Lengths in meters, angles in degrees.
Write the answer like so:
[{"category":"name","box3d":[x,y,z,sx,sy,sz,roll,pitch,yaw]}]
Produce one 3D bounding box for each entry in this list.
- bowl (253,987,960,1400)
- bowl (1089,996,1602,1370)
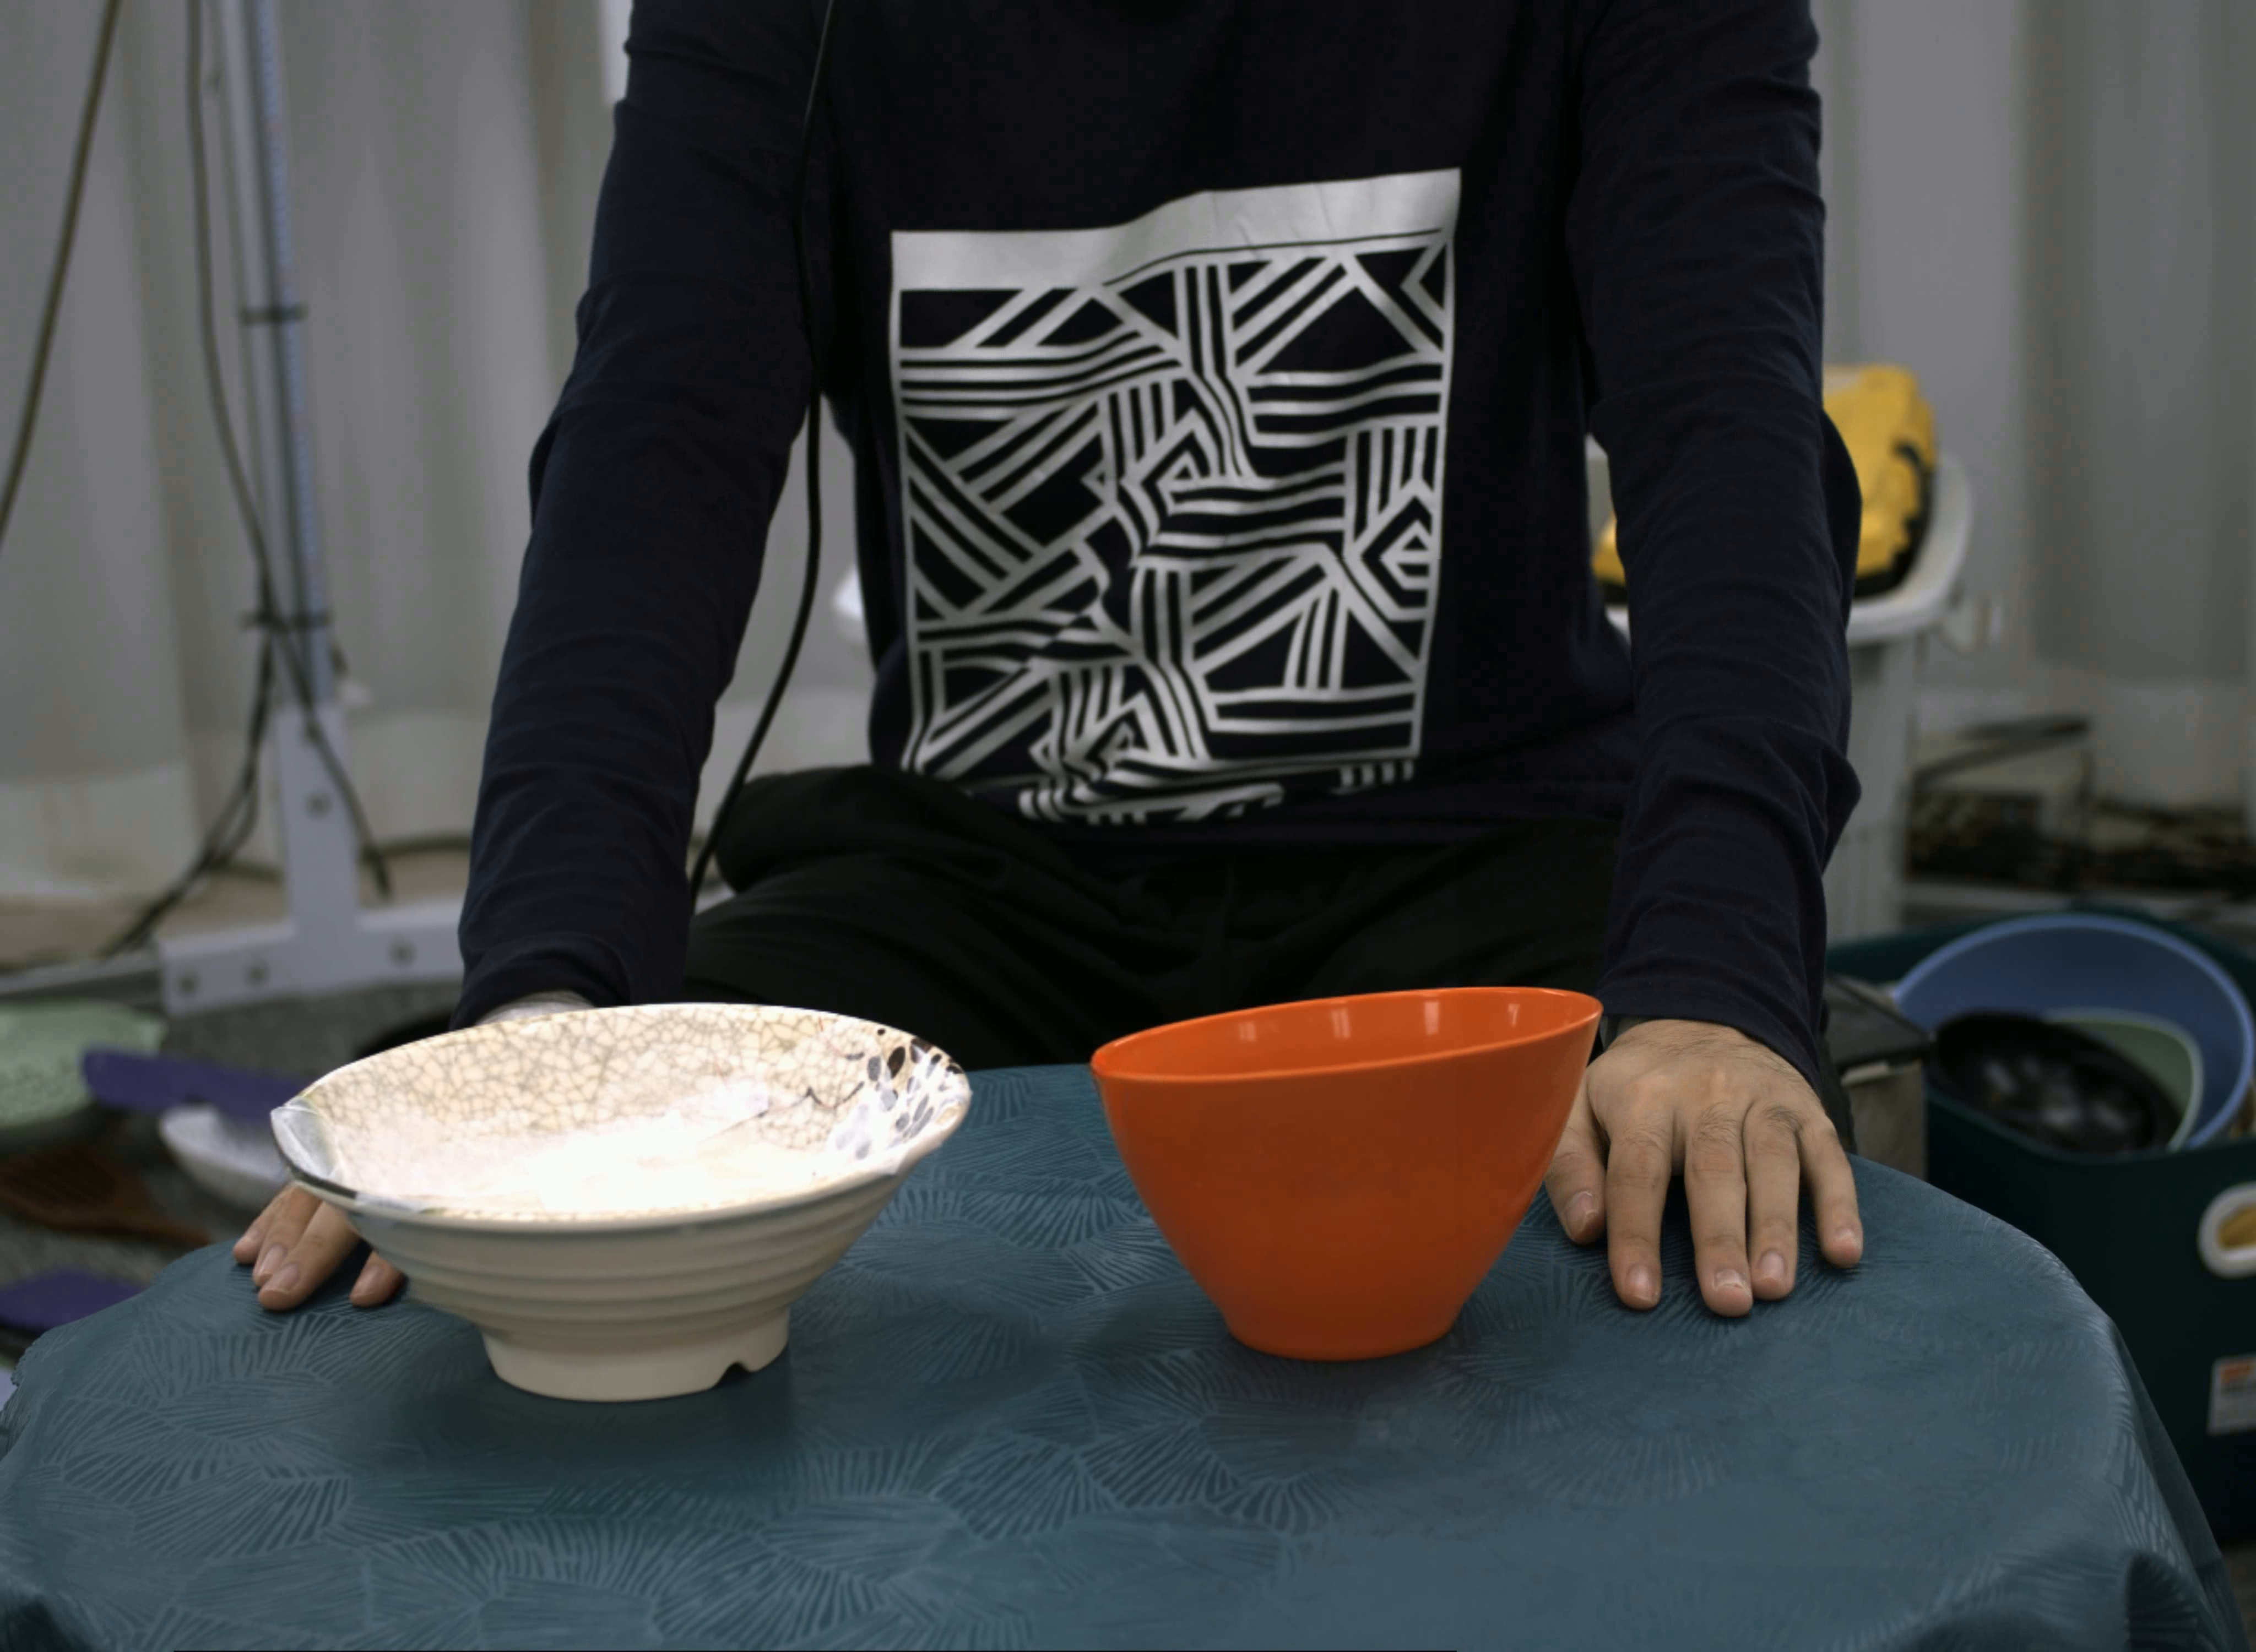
[{"category":"bowl","box3d":[-0.149,0.115,1.588,0.203,0.077,0.205,-1,16,0]},{"category":"bowl","box3d":[0.064,0.100,1.569,0.147,0.104,0.149,-3,12,0]}]
